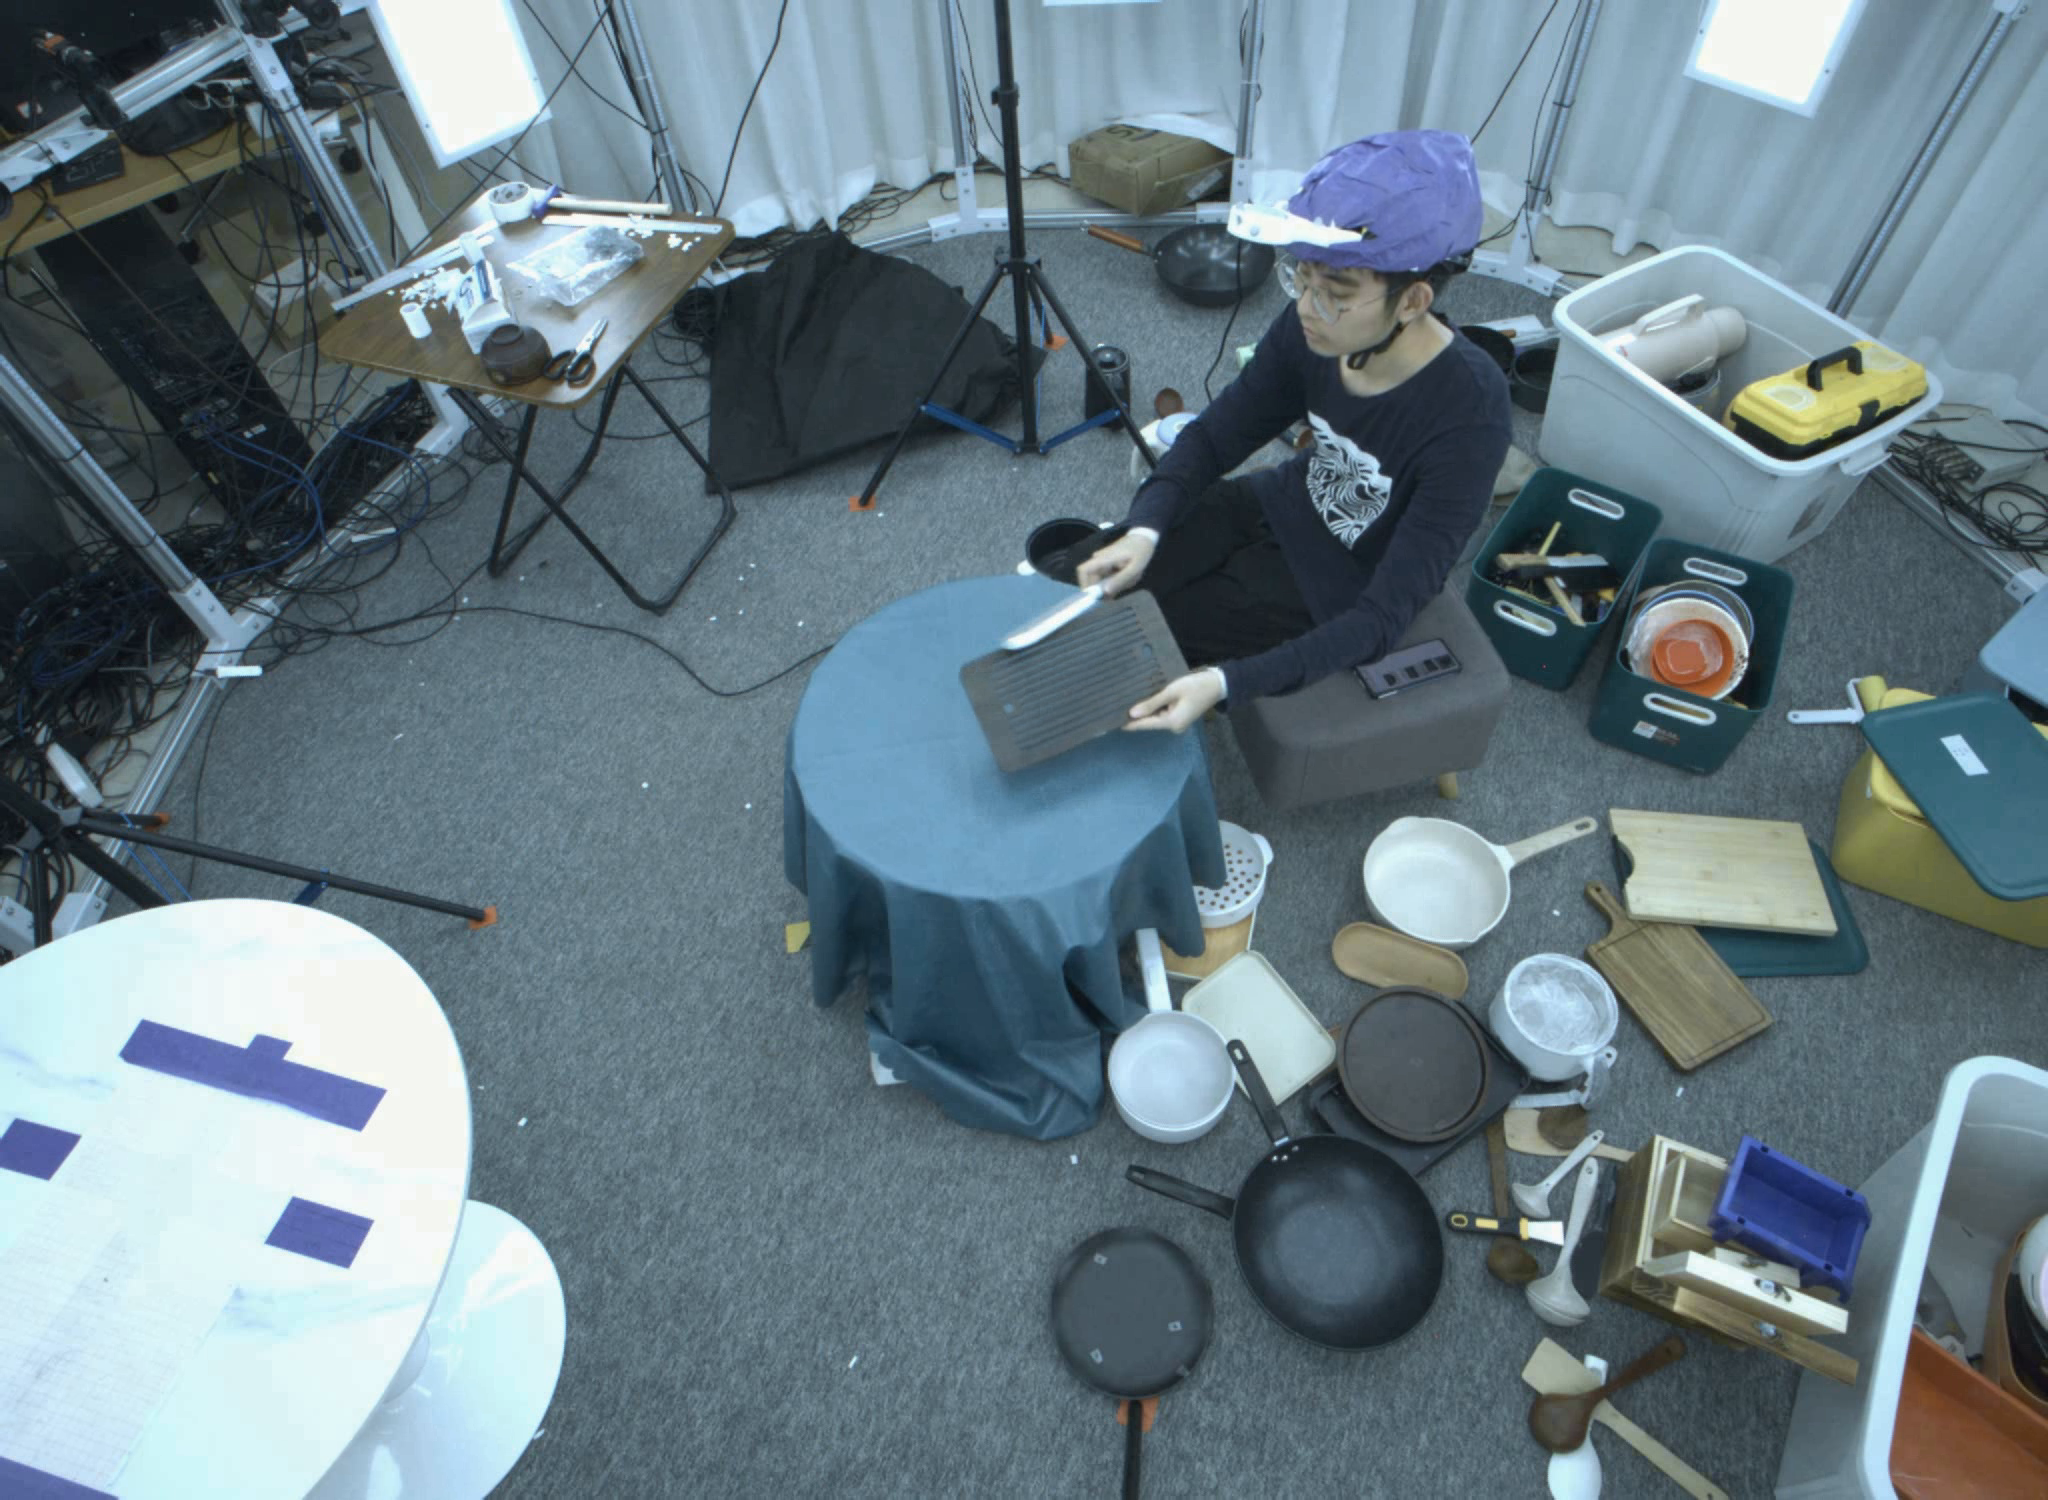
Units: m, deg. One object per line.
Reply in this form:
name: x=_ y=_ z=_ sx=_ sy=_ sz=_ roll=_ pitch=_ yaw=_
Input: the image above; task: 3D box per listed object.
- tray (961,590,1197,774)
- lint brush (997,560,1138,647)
tray: x=0.079 y=-0.099 z=1.743 sx=0.308 sy=0.018 sz=0.169 roll=-24 pitch=84 yaw=-12
lint brush: x=0.071 y=-0.216 z=1.782 sx=0.059 sy=0.021 sz=0.312 roll=-10 pitch=19 yaw=48
